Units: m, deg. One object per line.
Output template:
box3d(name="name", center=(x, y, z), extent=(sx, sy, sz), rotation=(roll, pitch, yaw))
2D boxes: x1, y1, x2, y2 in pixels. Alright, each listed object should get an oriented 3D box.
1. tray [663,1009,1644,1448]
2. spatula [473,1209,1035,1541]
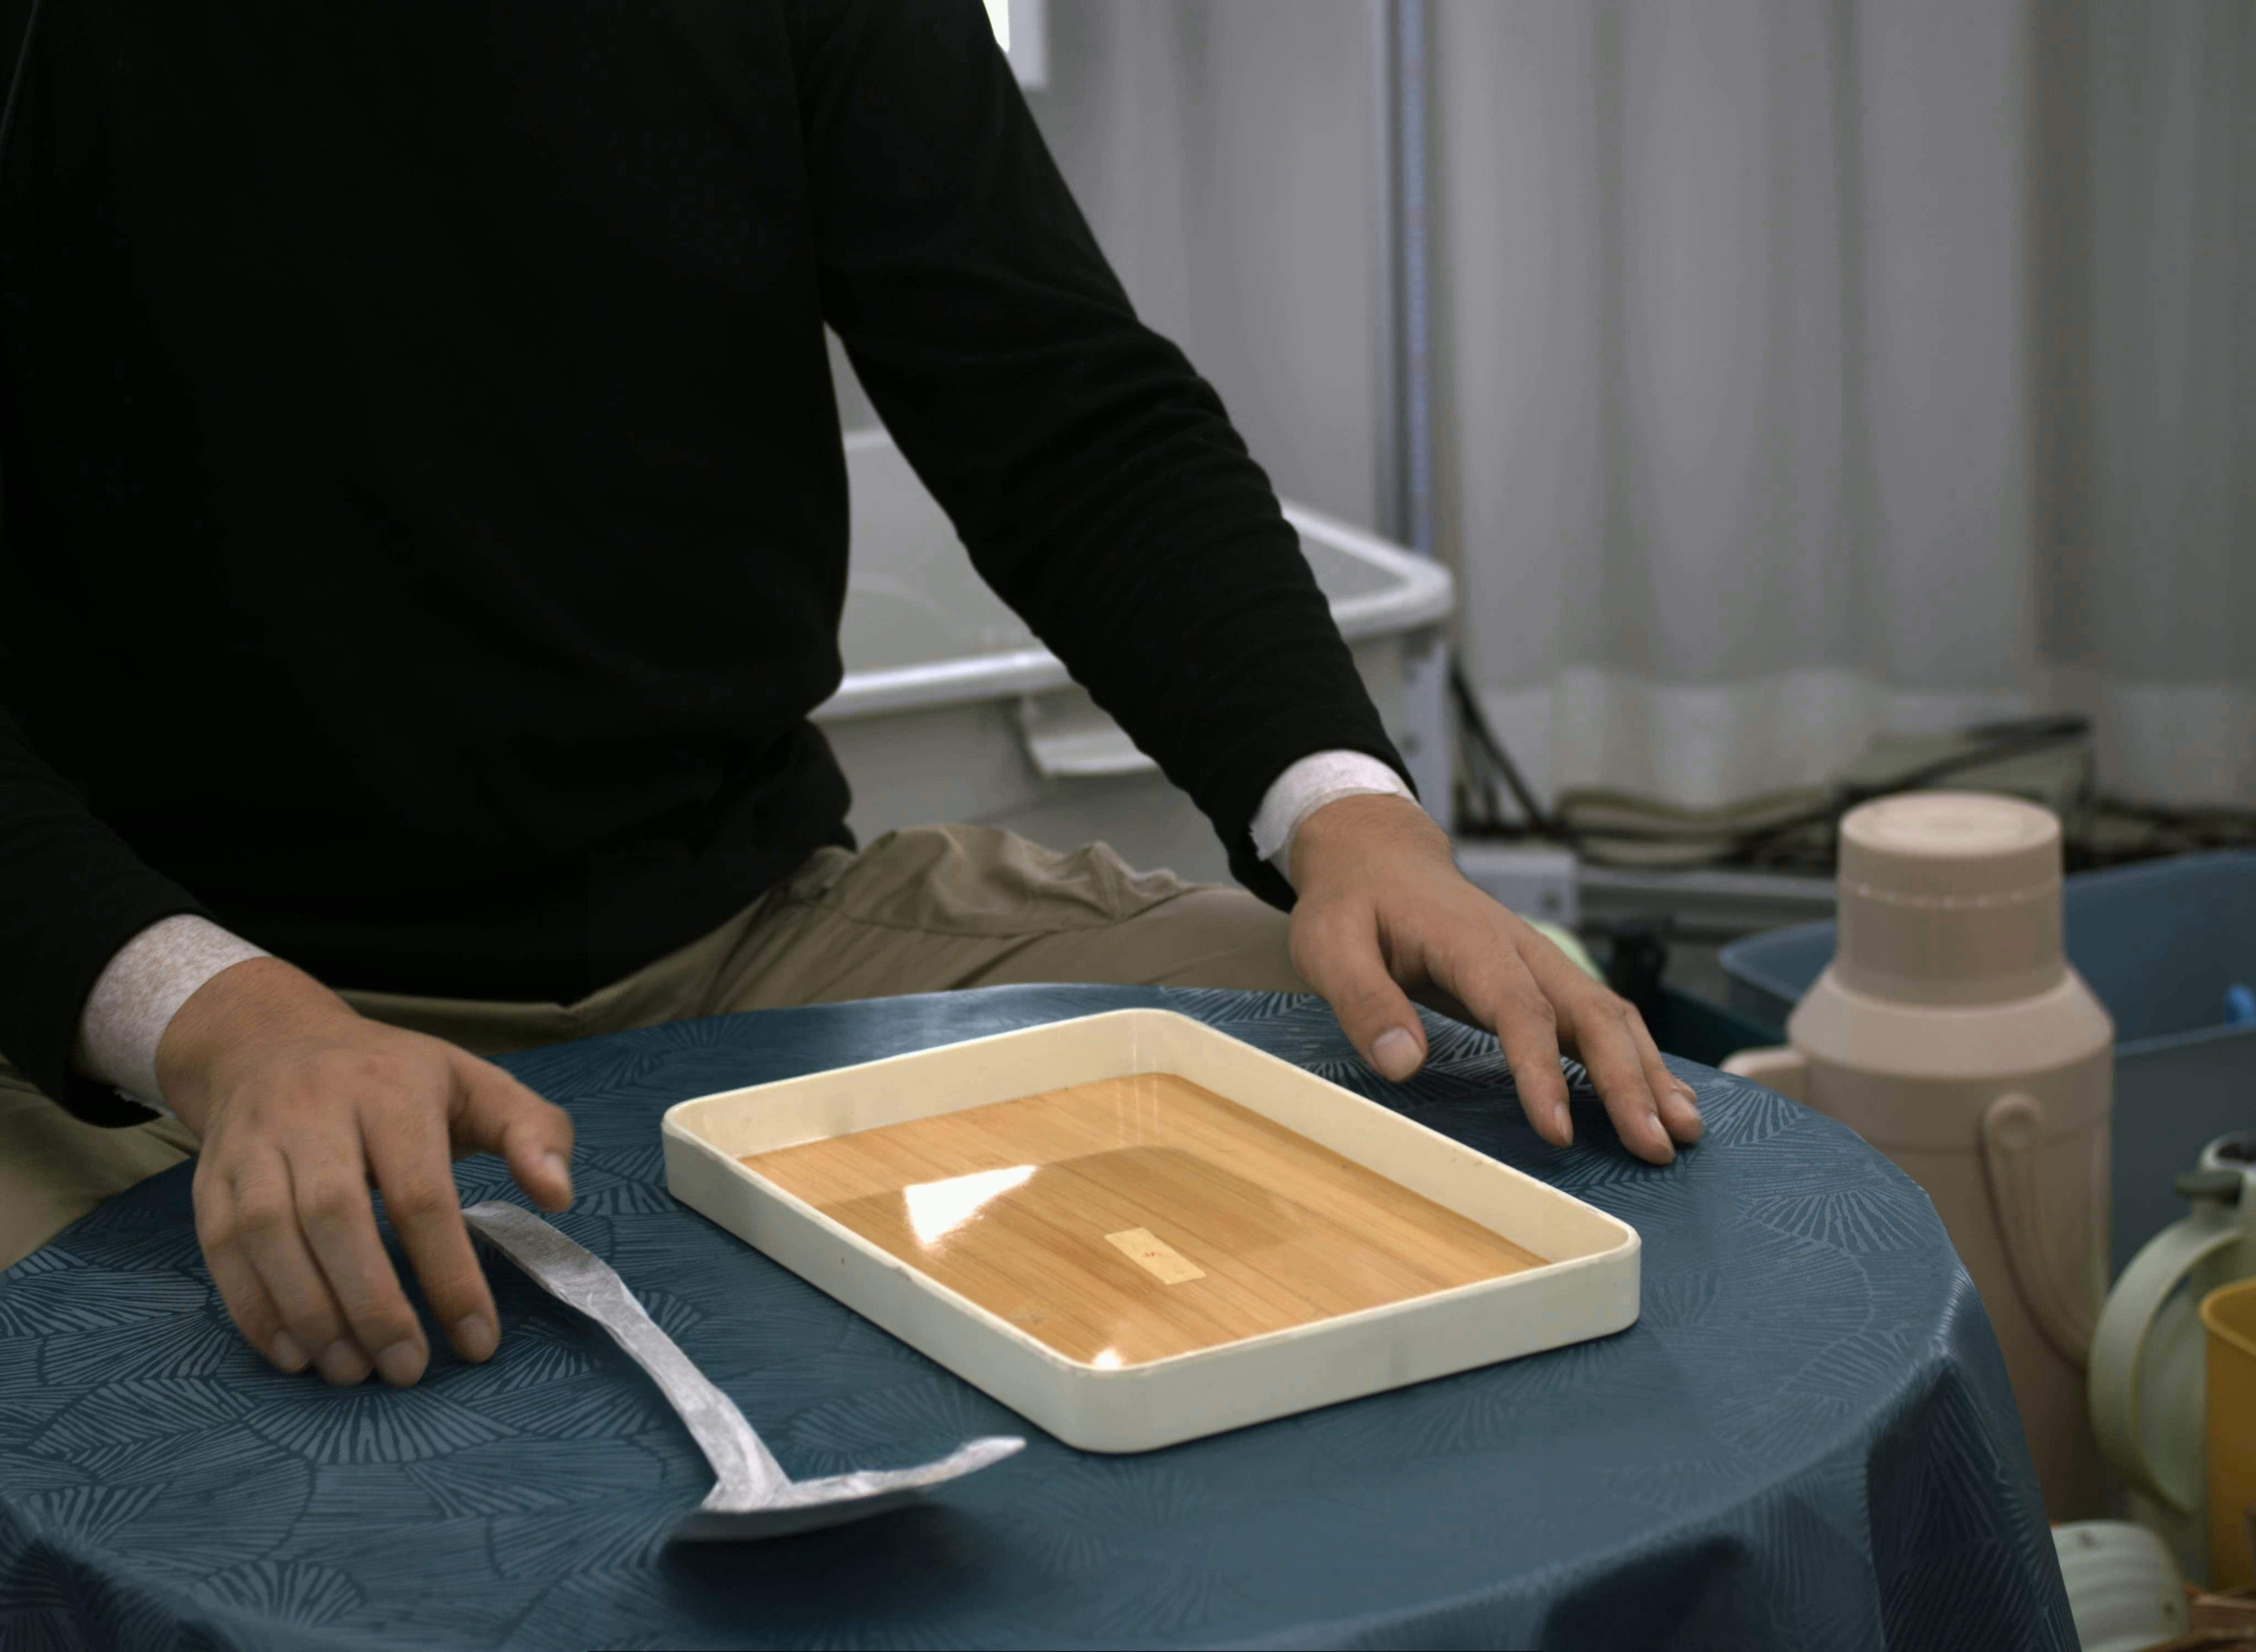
box3d(name="tray", center=(0.001, 0.117, 1.654), extent=(0.191, 0.027, 0.302), rotation=(-11, 16, -27))
box3d(name="spatula", center=(-0.131, 0.146, 1.548), extent=(0.098, 0.044, 0.368), rotation=(-10, 16, -22))
